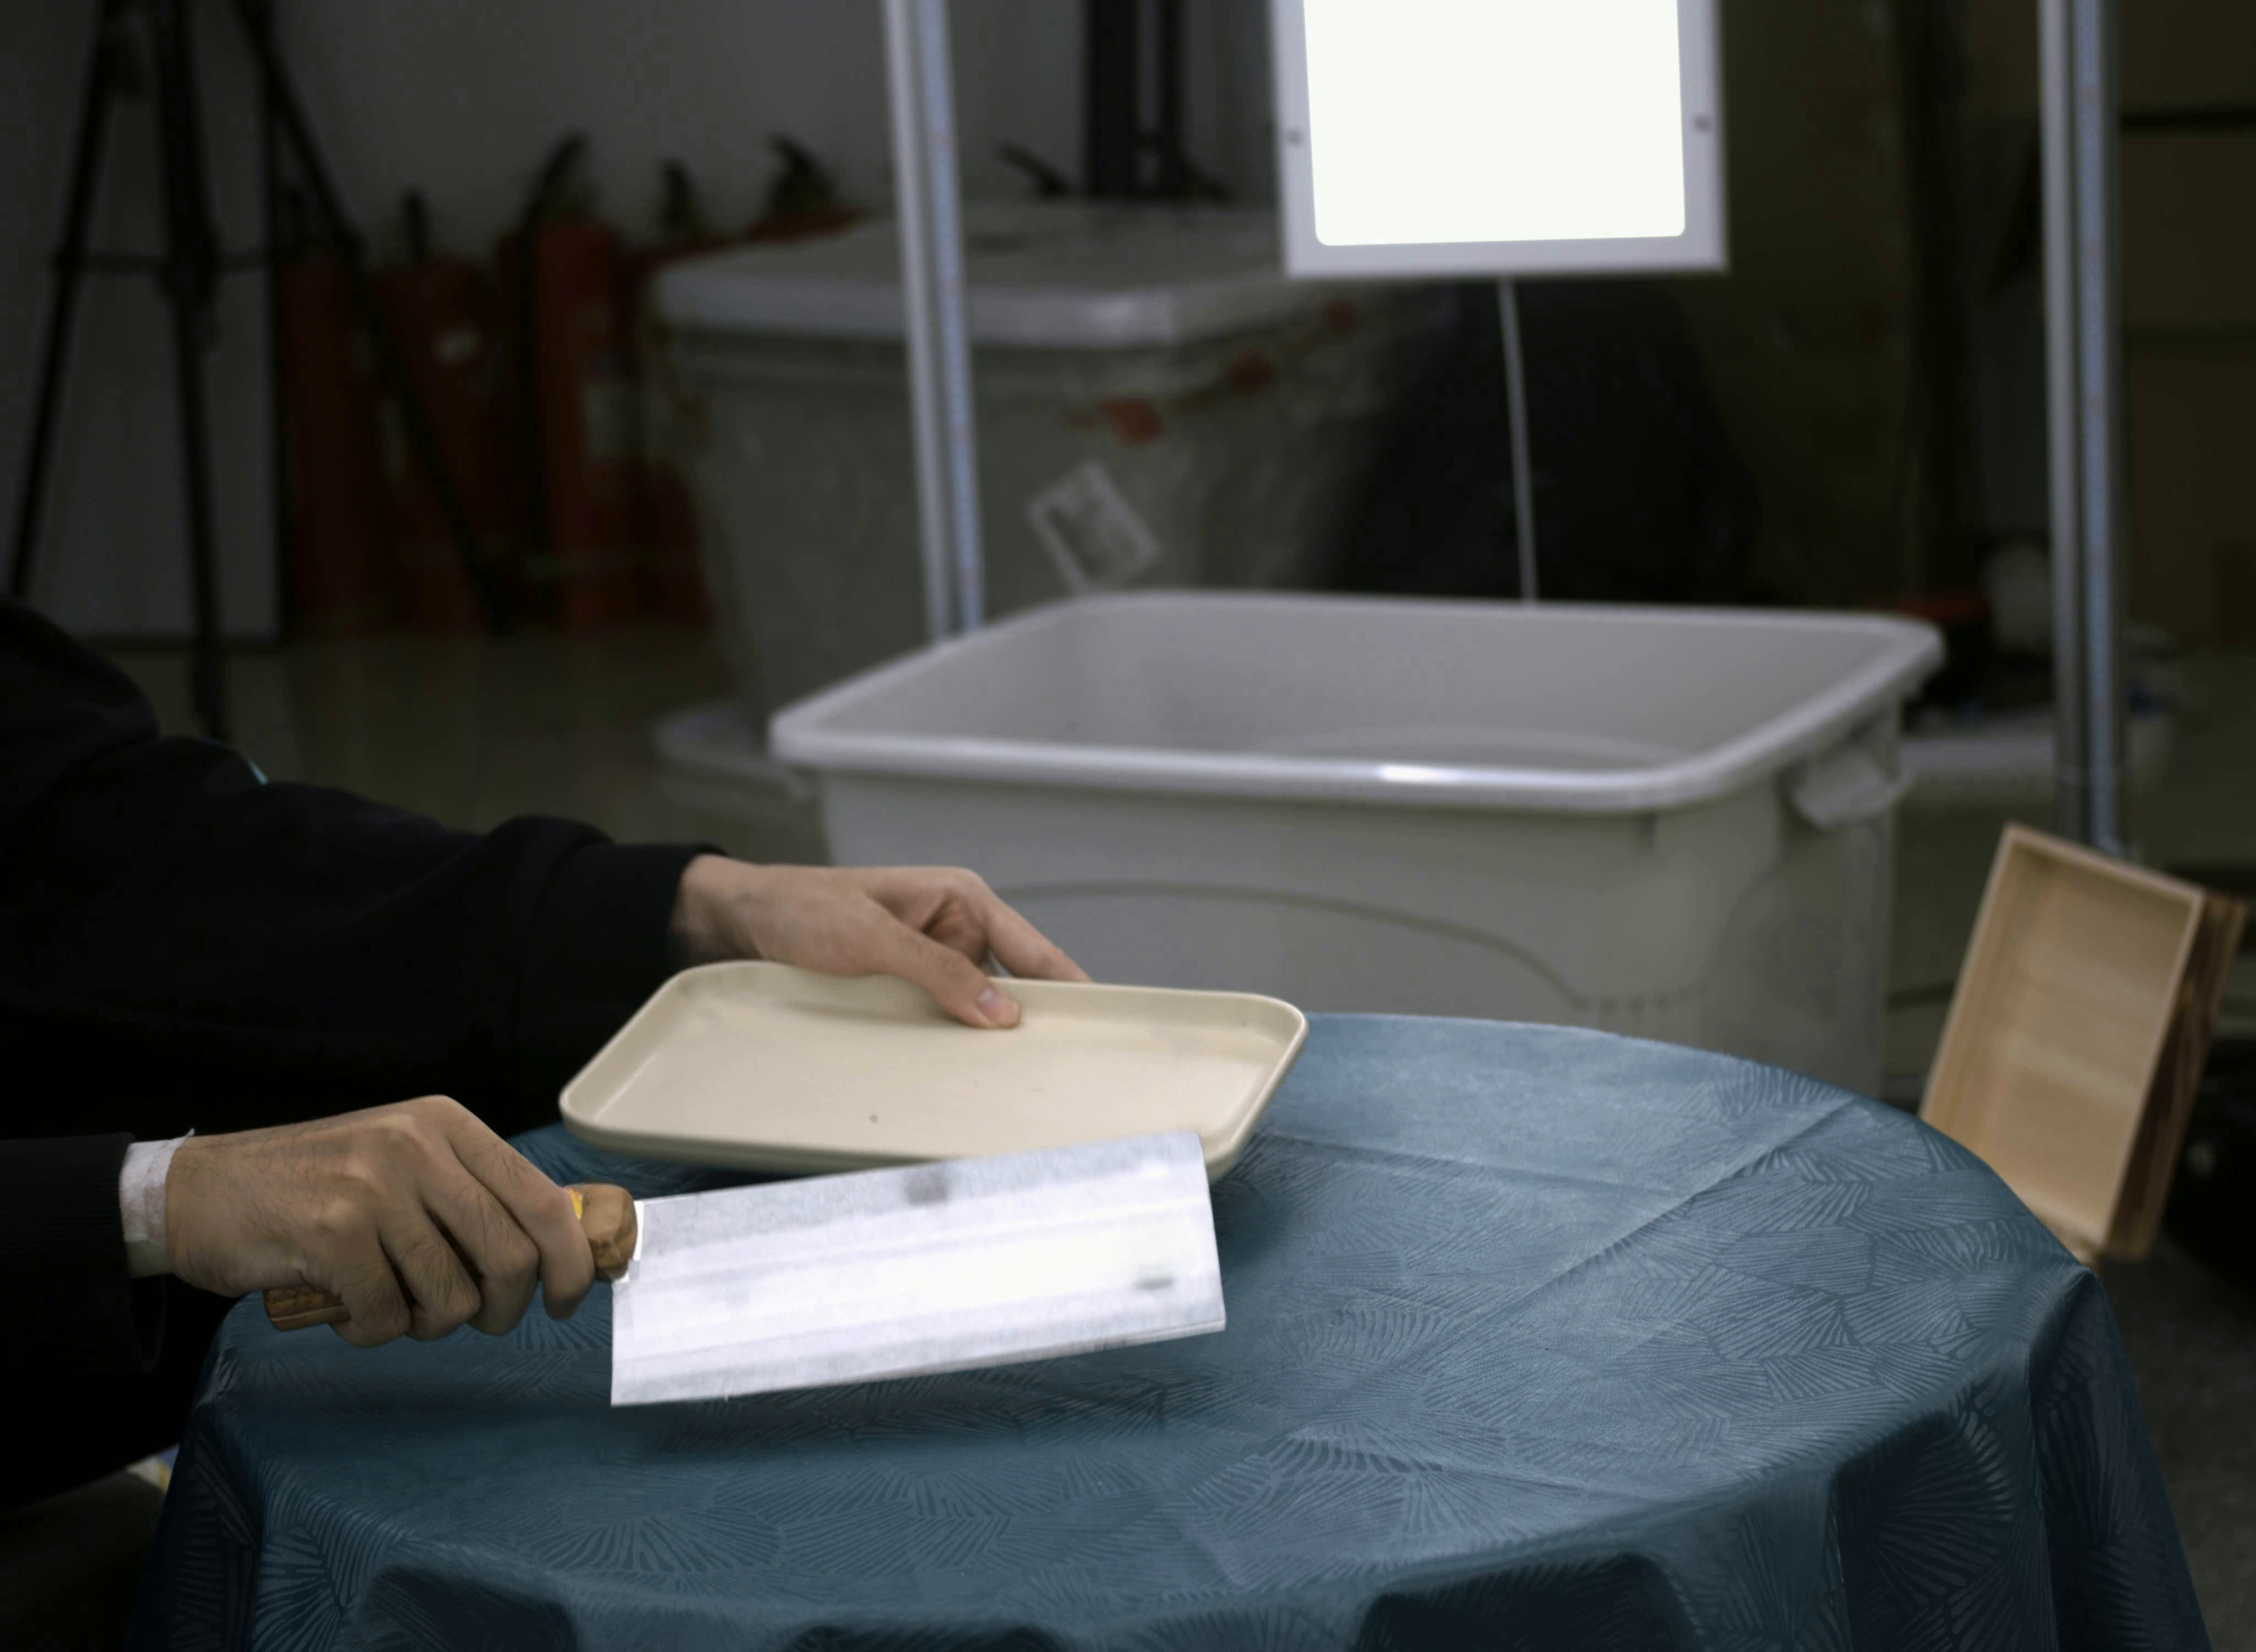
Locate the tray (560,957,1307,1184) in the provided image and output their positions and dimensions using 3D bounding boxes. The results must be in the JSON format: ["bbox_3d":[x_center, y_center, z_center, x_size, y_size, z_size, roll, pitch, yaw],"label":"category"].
[{"bbox_3d":[-0.065,0.086,1.913,0.242,0.017,0.169,3,19,16],"label":"tray"}]

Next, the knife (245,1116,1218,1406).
[{"bbox_3d":[-0.124,0.141,1.712,0.305,0.021,0.093,-9,40,3],"label":"knife"}]
